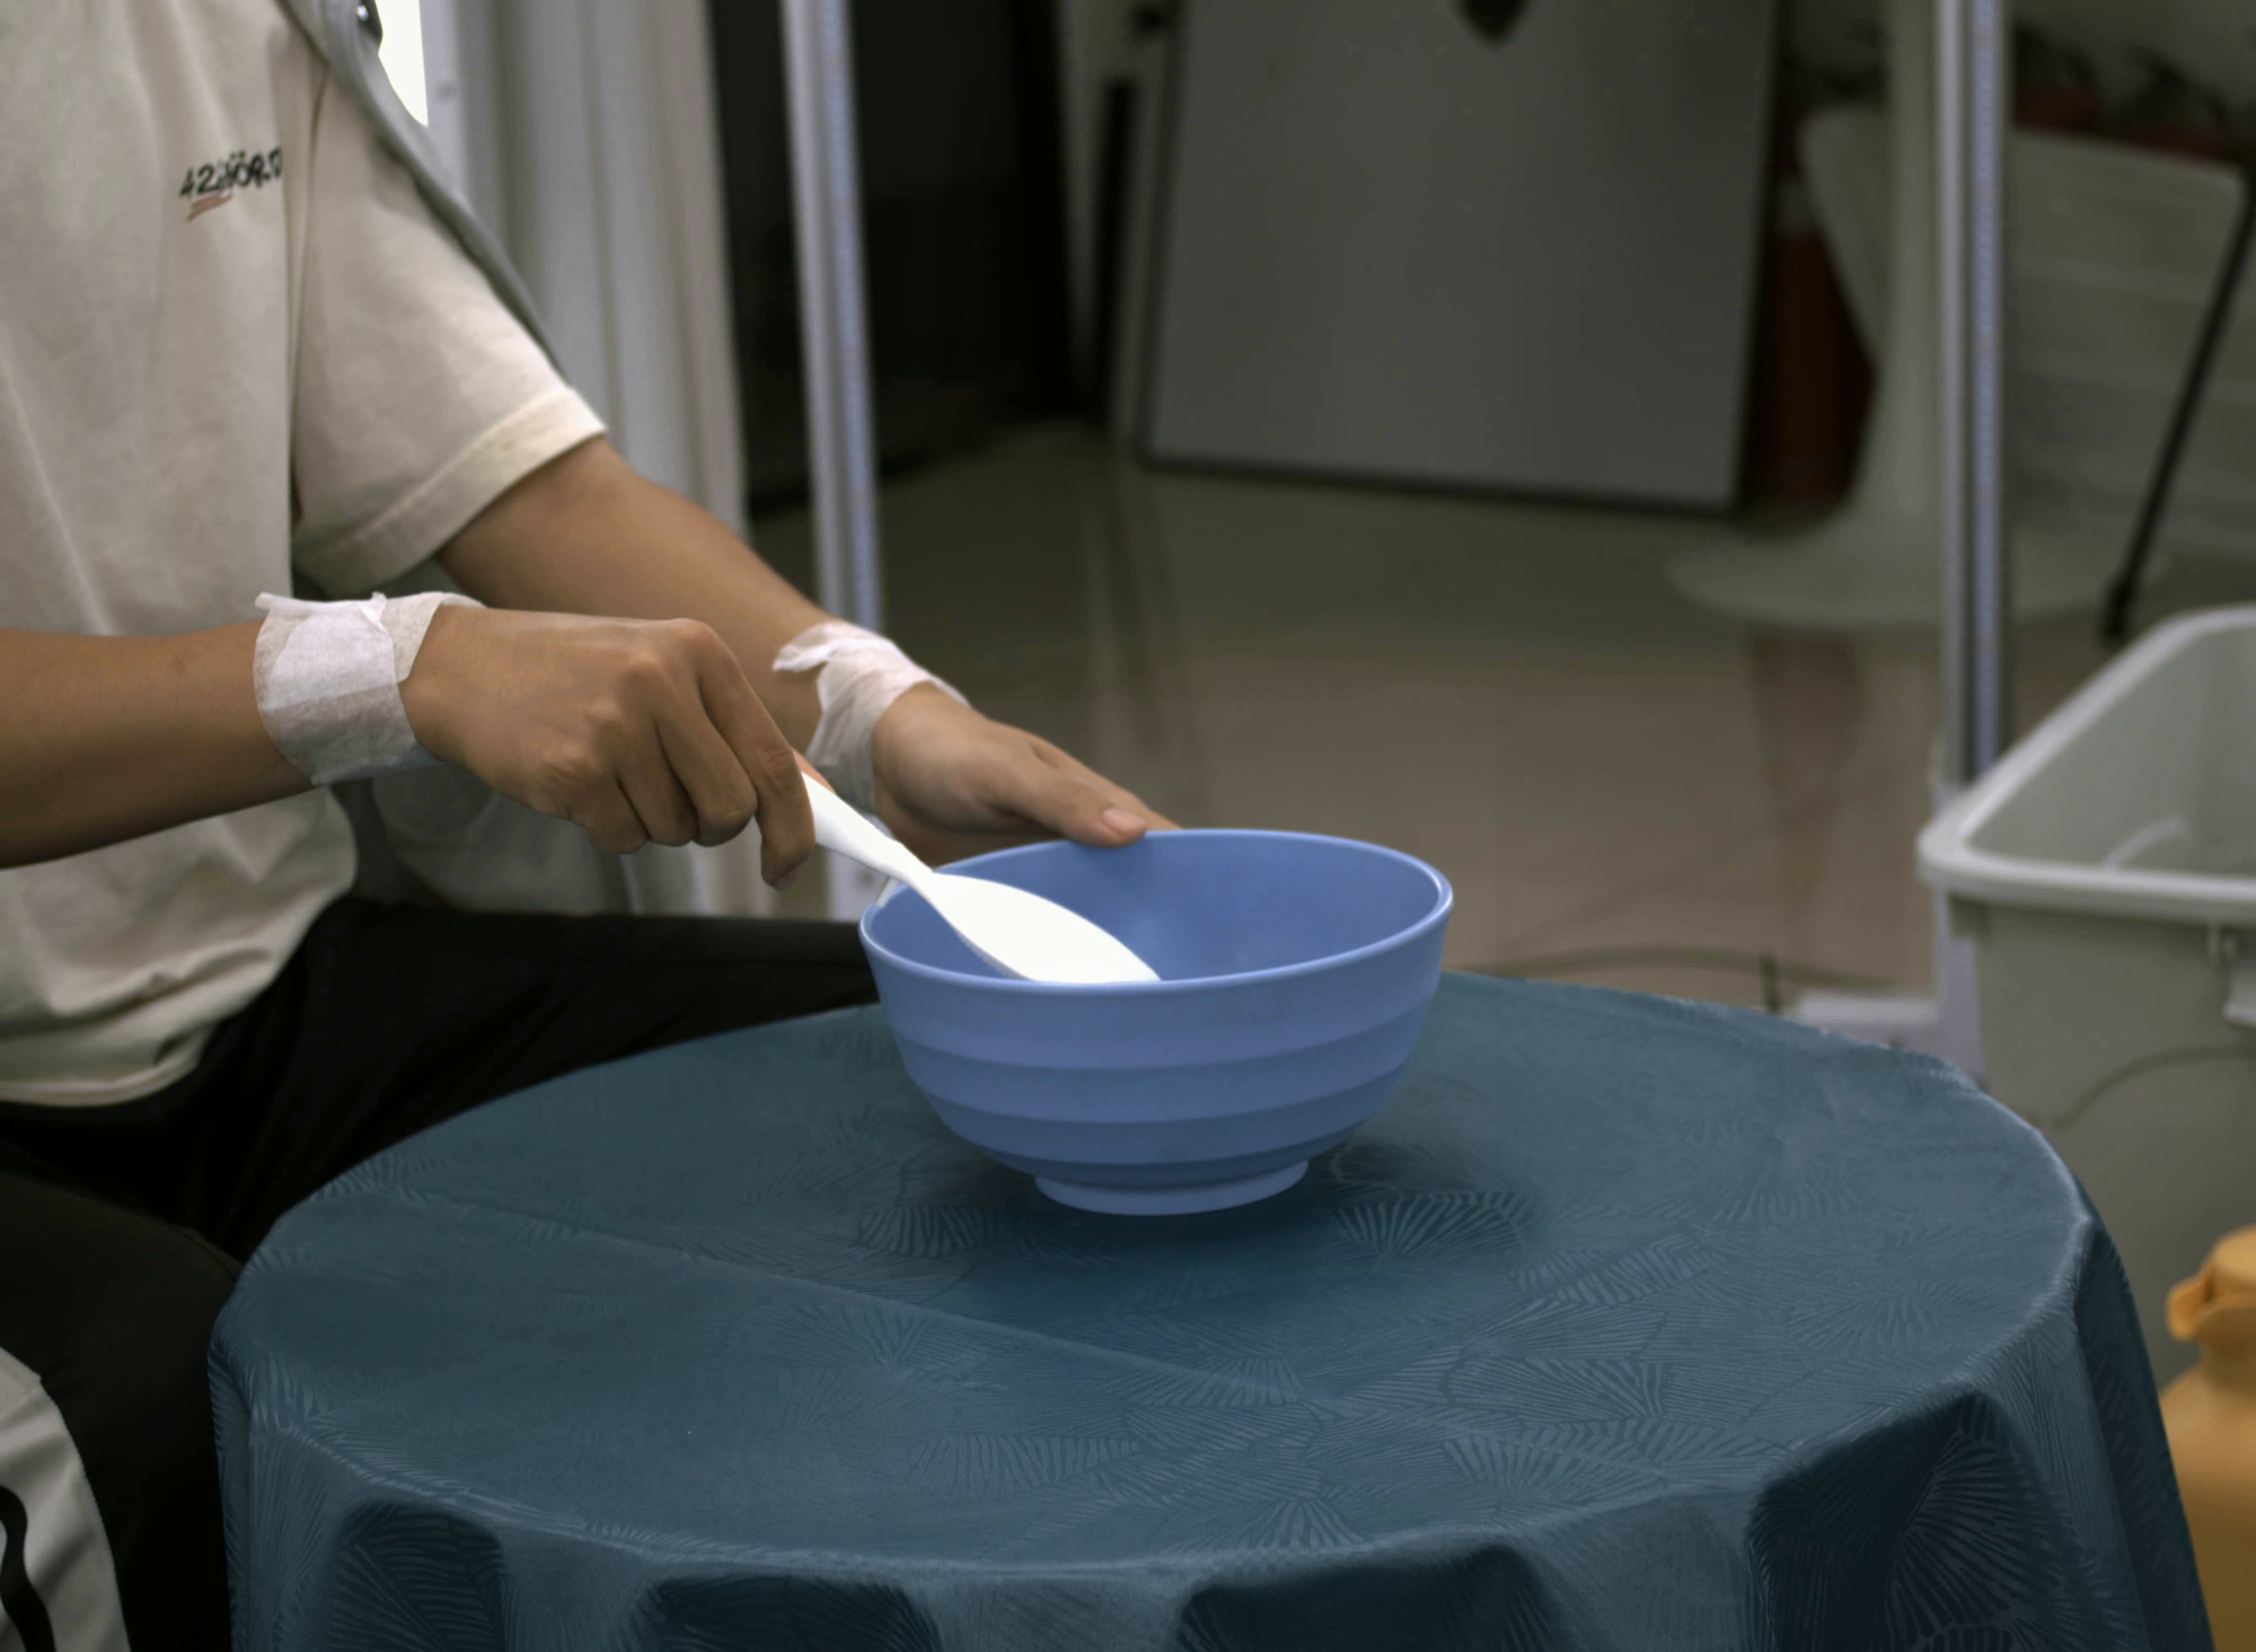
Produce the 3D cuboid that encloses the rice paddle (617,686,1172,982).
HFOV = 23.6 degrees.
[{"bbox_3d":[-0.068,0.014,1.745,0.203,0.030,0.069,27,23,-9],"label":"rice paddle"}]

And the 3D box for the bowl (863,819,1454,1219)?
[{"bbox_3d":[0.012,0.069,1.777,0.194,0.096,0.197,-3,16,0],"label":"bowl"}]
